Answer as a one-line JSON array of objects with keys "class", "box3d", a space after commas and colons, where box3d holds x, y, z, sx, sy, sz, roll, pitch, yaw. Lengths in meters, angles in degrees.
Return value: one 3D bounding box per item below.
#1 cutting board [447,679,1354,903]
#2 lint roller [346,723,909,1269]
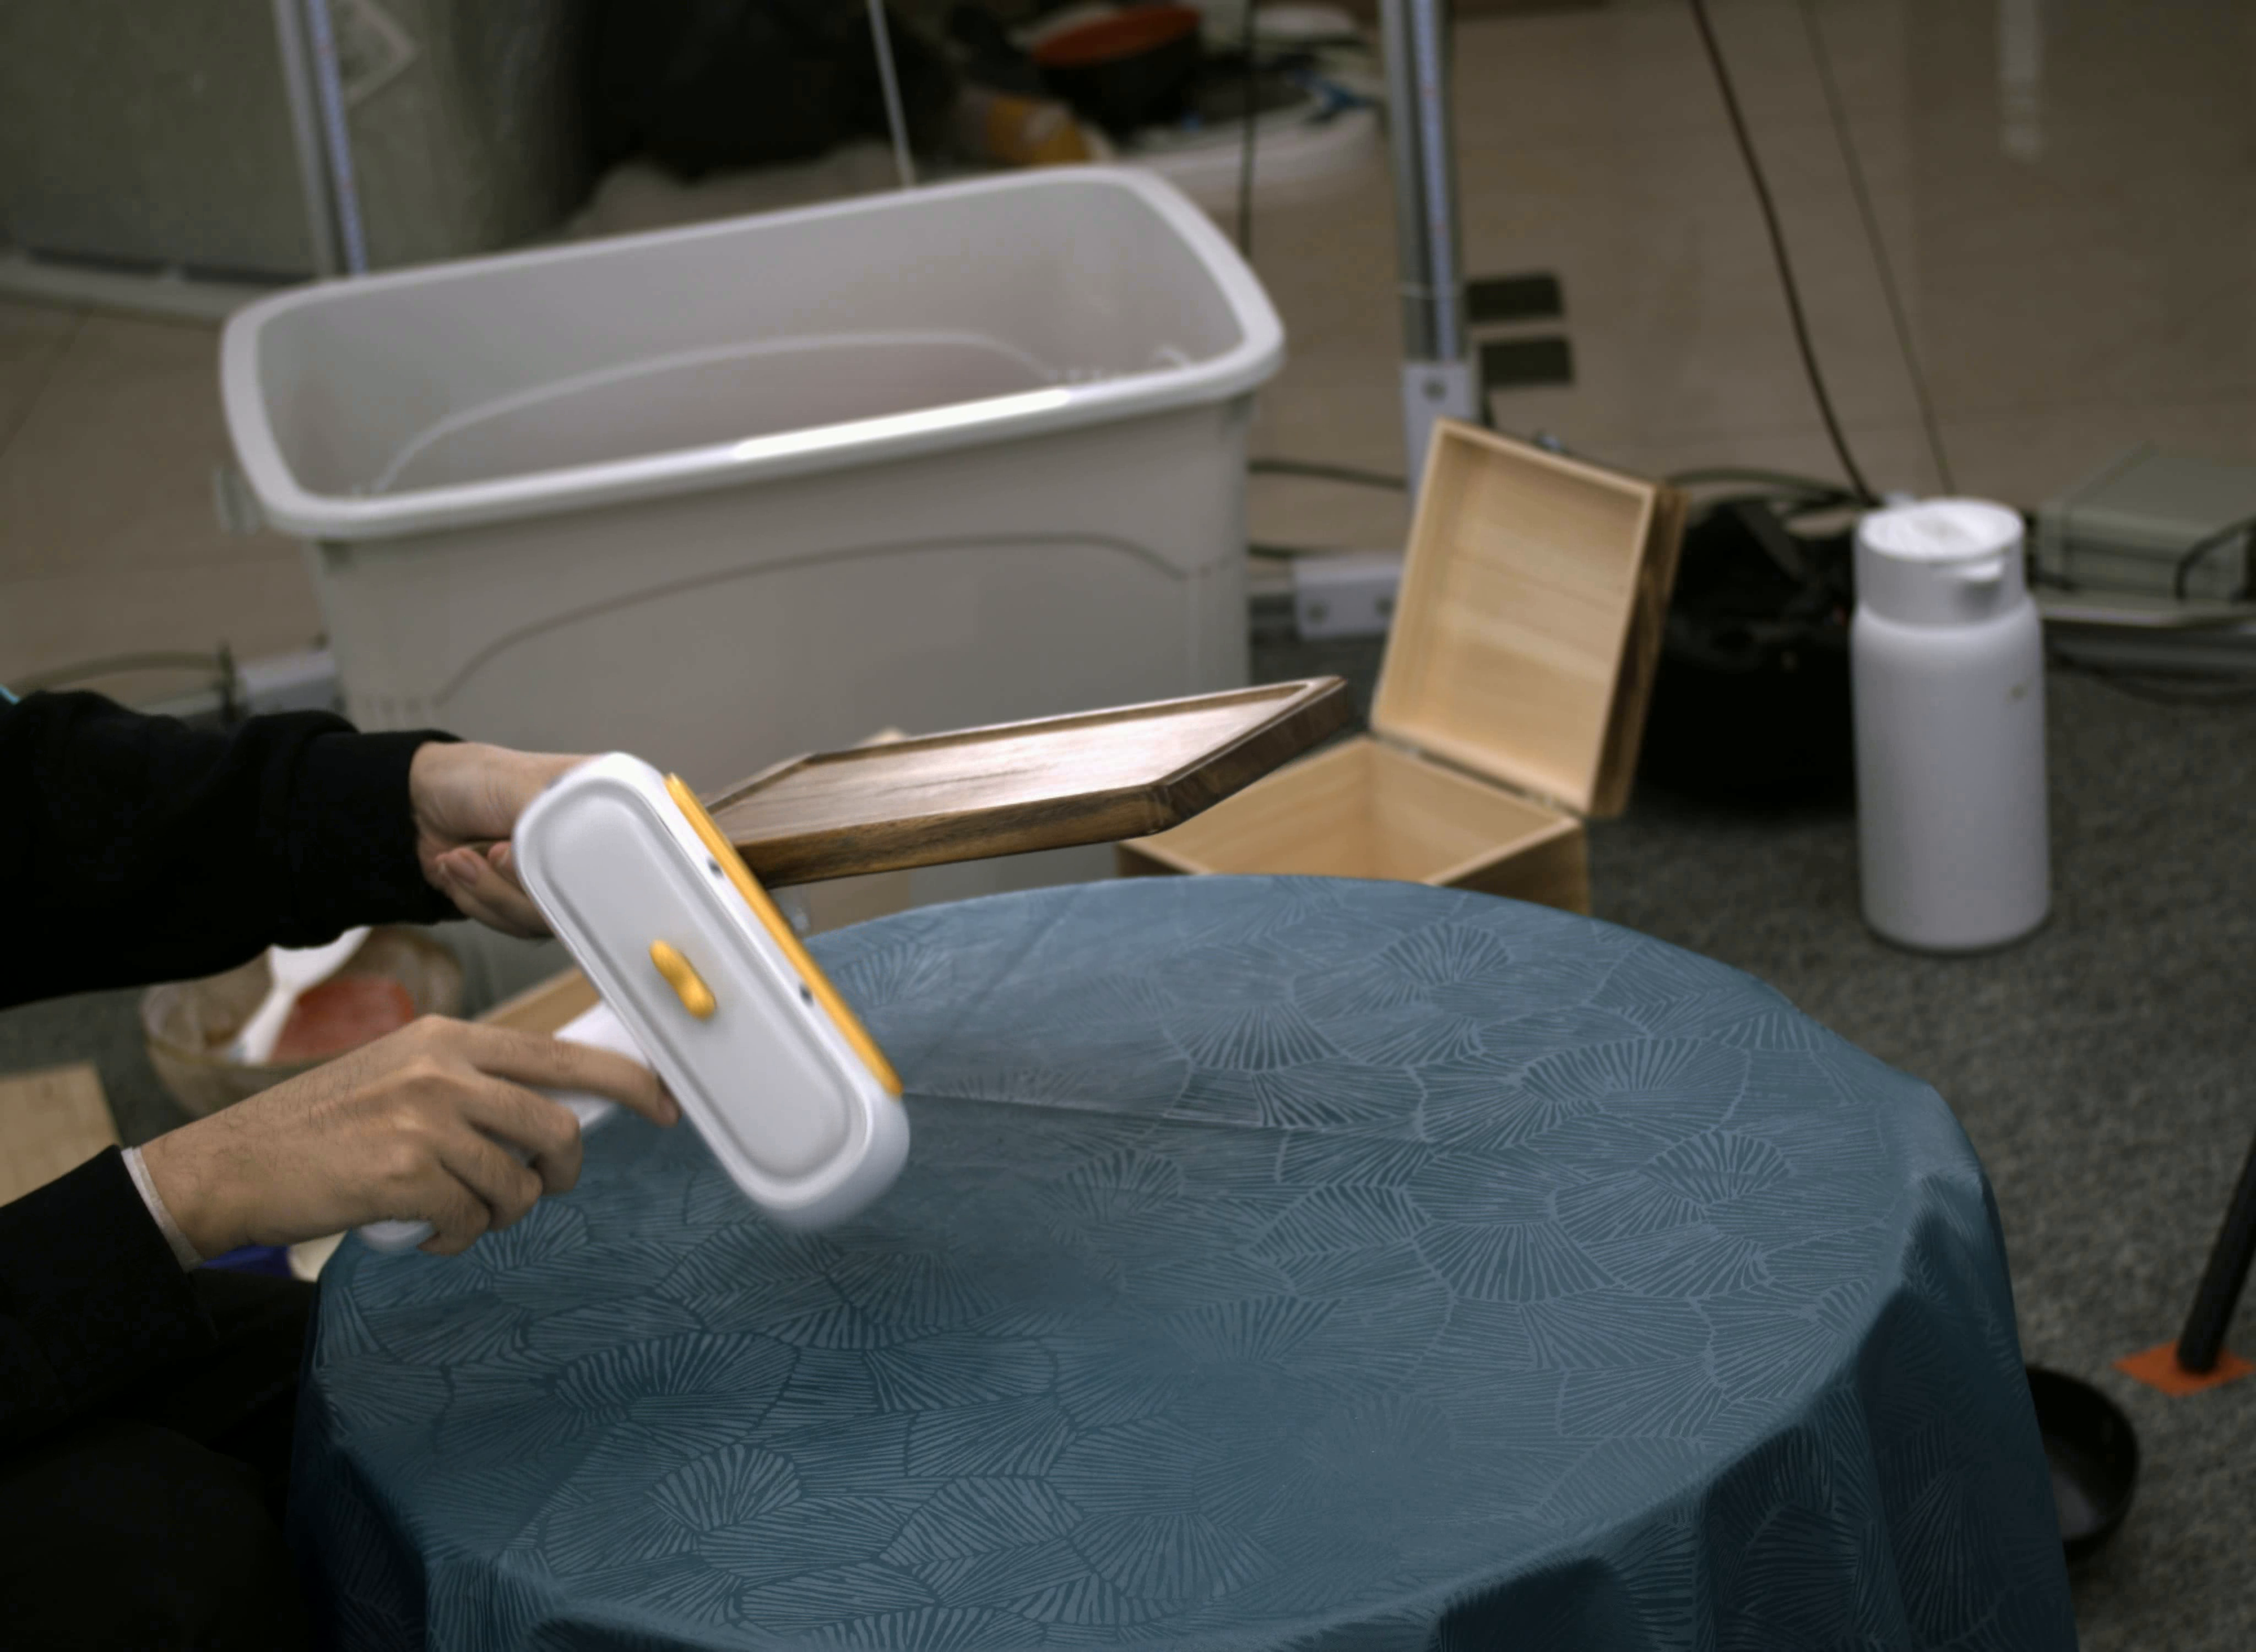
[{"class": "cutting board", "box3d": [-0.105, -0.005, 2.156, 0.352, 0.023, 0.199, -8, 10, 25]}, {"class": "lint roller", "box3d": [-0.200, 0.085, 2.036, 0.192, 0.192, 0.074, -43, -5, -4]}]
